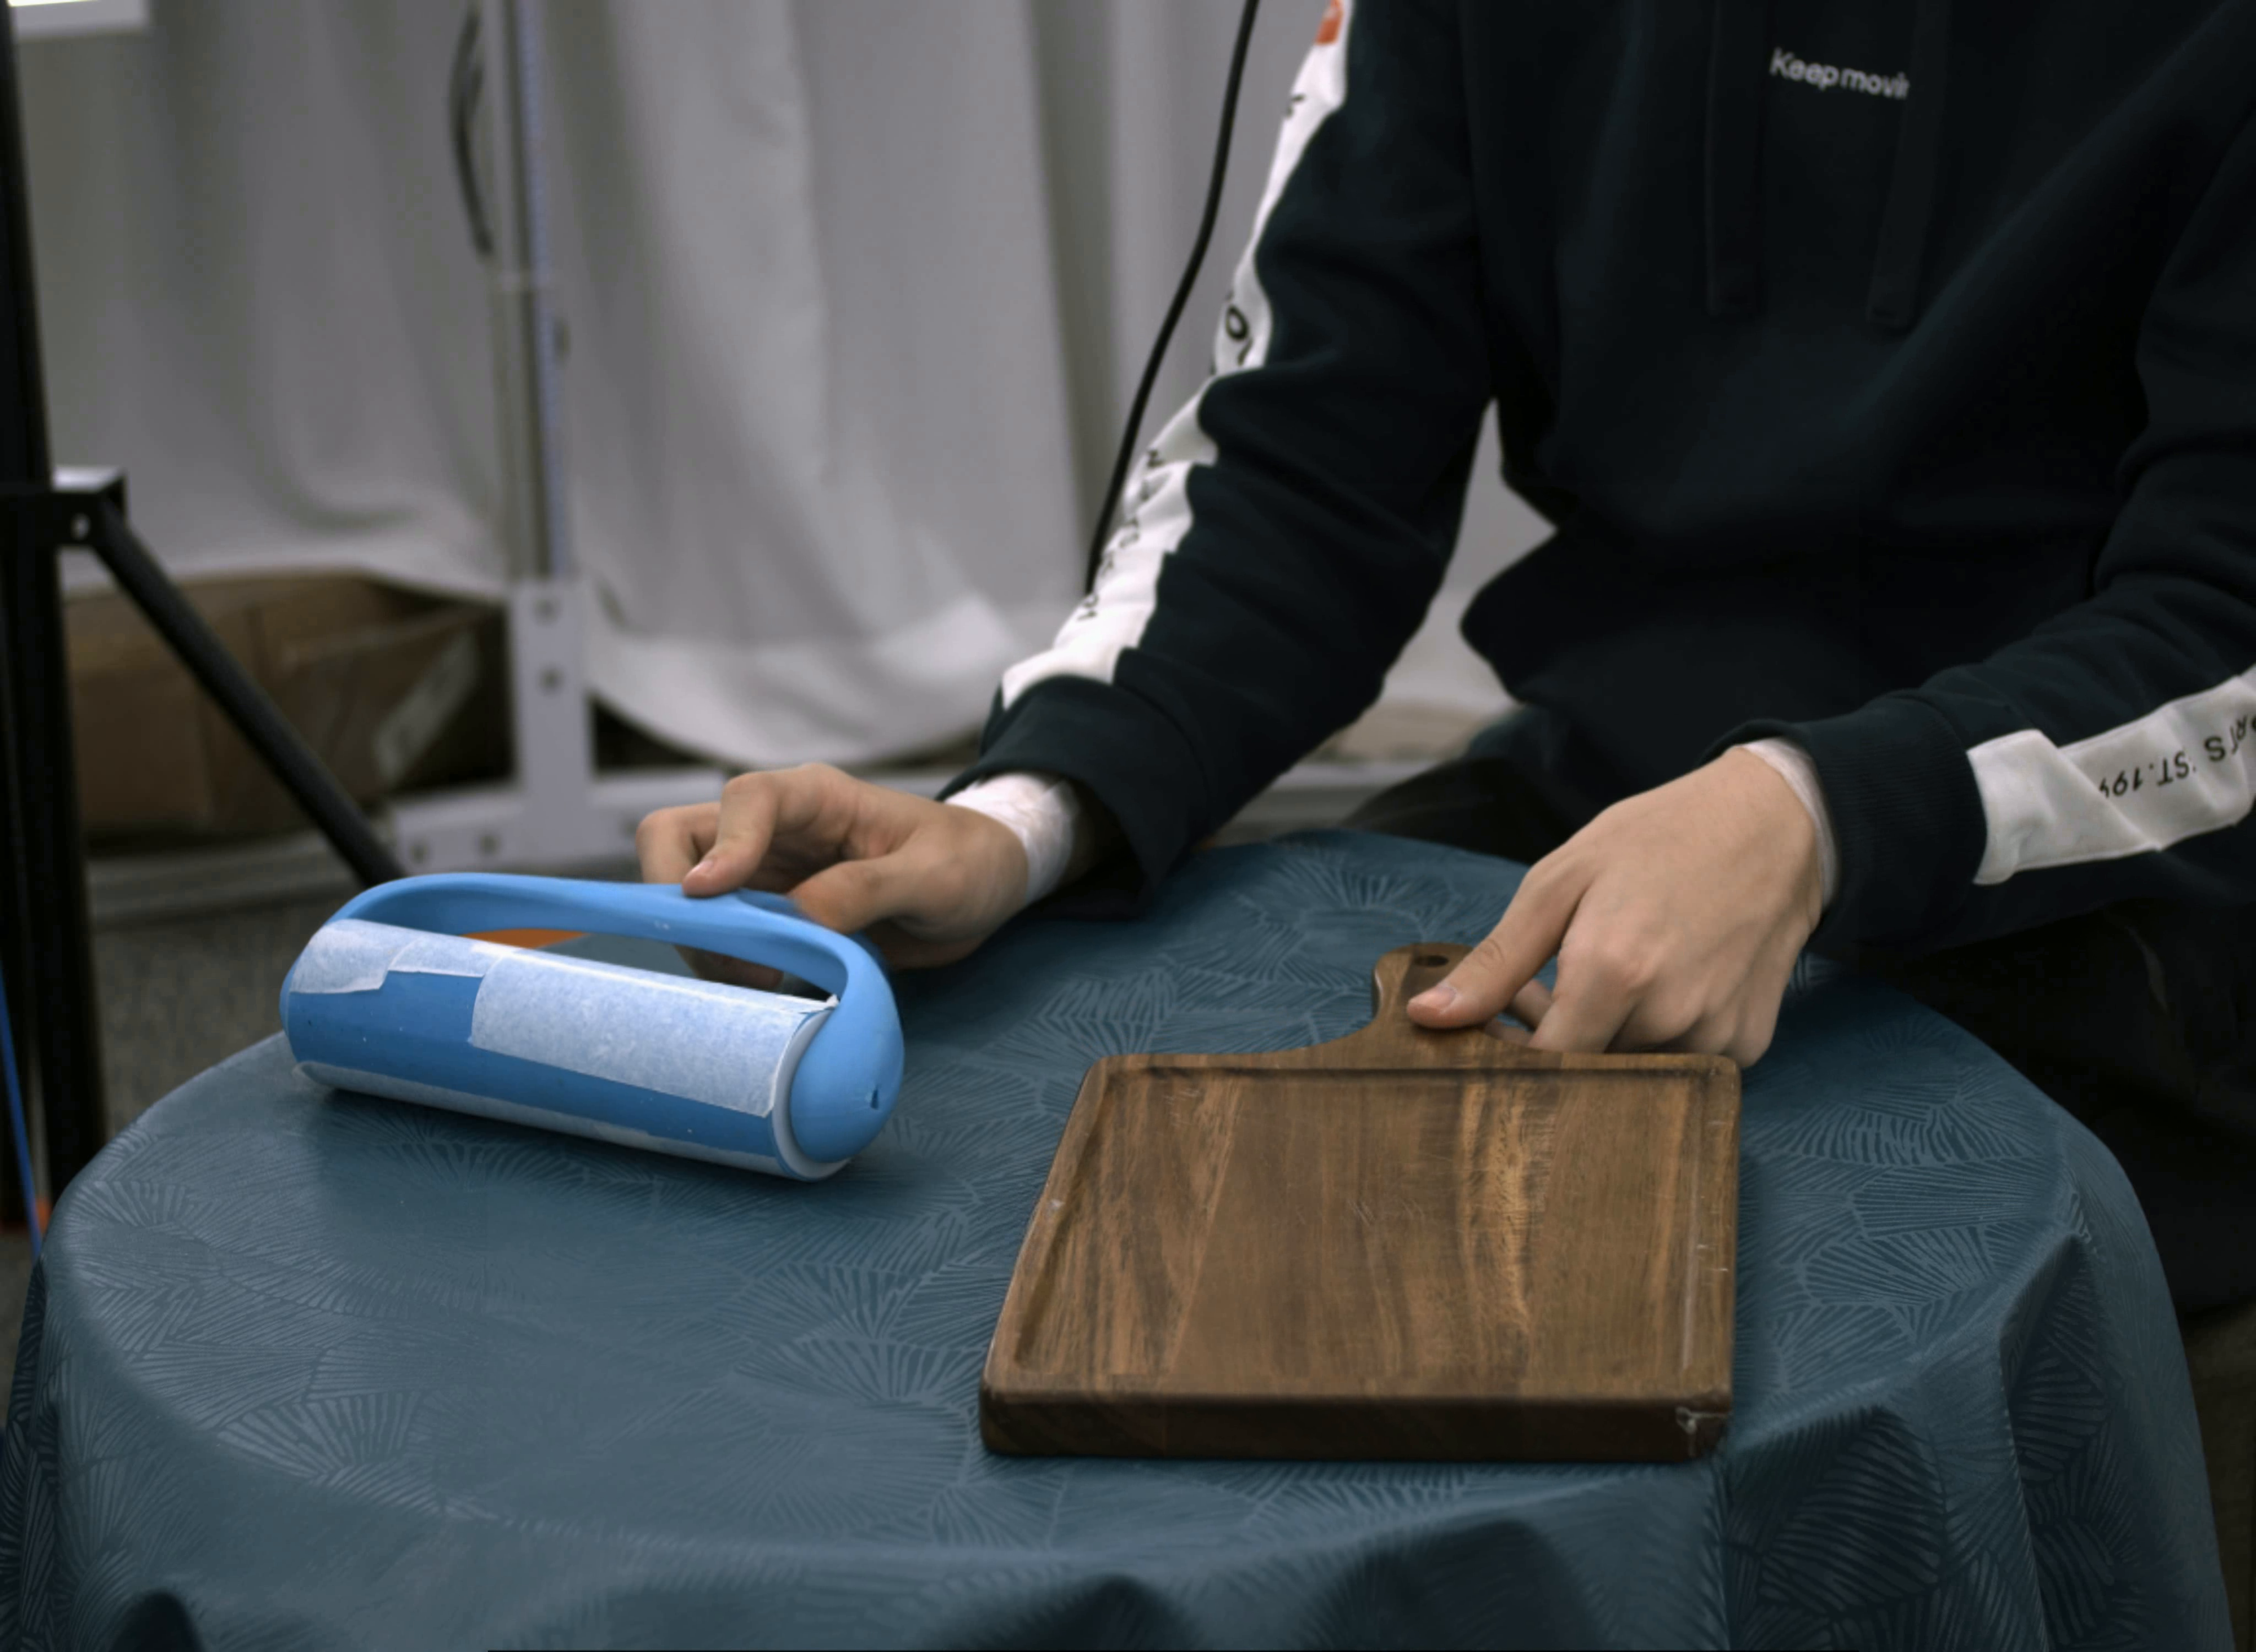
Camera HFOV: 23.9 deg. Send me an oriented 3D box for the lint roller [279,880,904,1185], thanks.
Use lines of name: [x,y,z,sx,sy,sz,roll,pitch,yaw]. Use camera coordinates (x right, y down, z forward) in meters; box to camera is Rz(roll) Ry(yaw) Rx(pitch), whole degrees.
lint roller: [-0.138,0.051,1.677,0.233,0.068,0.177,6,19,32]

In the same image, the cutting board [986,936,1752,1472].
cutting board: [0.076,0.100,1.510,0.201,0.023,0.352,0,18,7]
